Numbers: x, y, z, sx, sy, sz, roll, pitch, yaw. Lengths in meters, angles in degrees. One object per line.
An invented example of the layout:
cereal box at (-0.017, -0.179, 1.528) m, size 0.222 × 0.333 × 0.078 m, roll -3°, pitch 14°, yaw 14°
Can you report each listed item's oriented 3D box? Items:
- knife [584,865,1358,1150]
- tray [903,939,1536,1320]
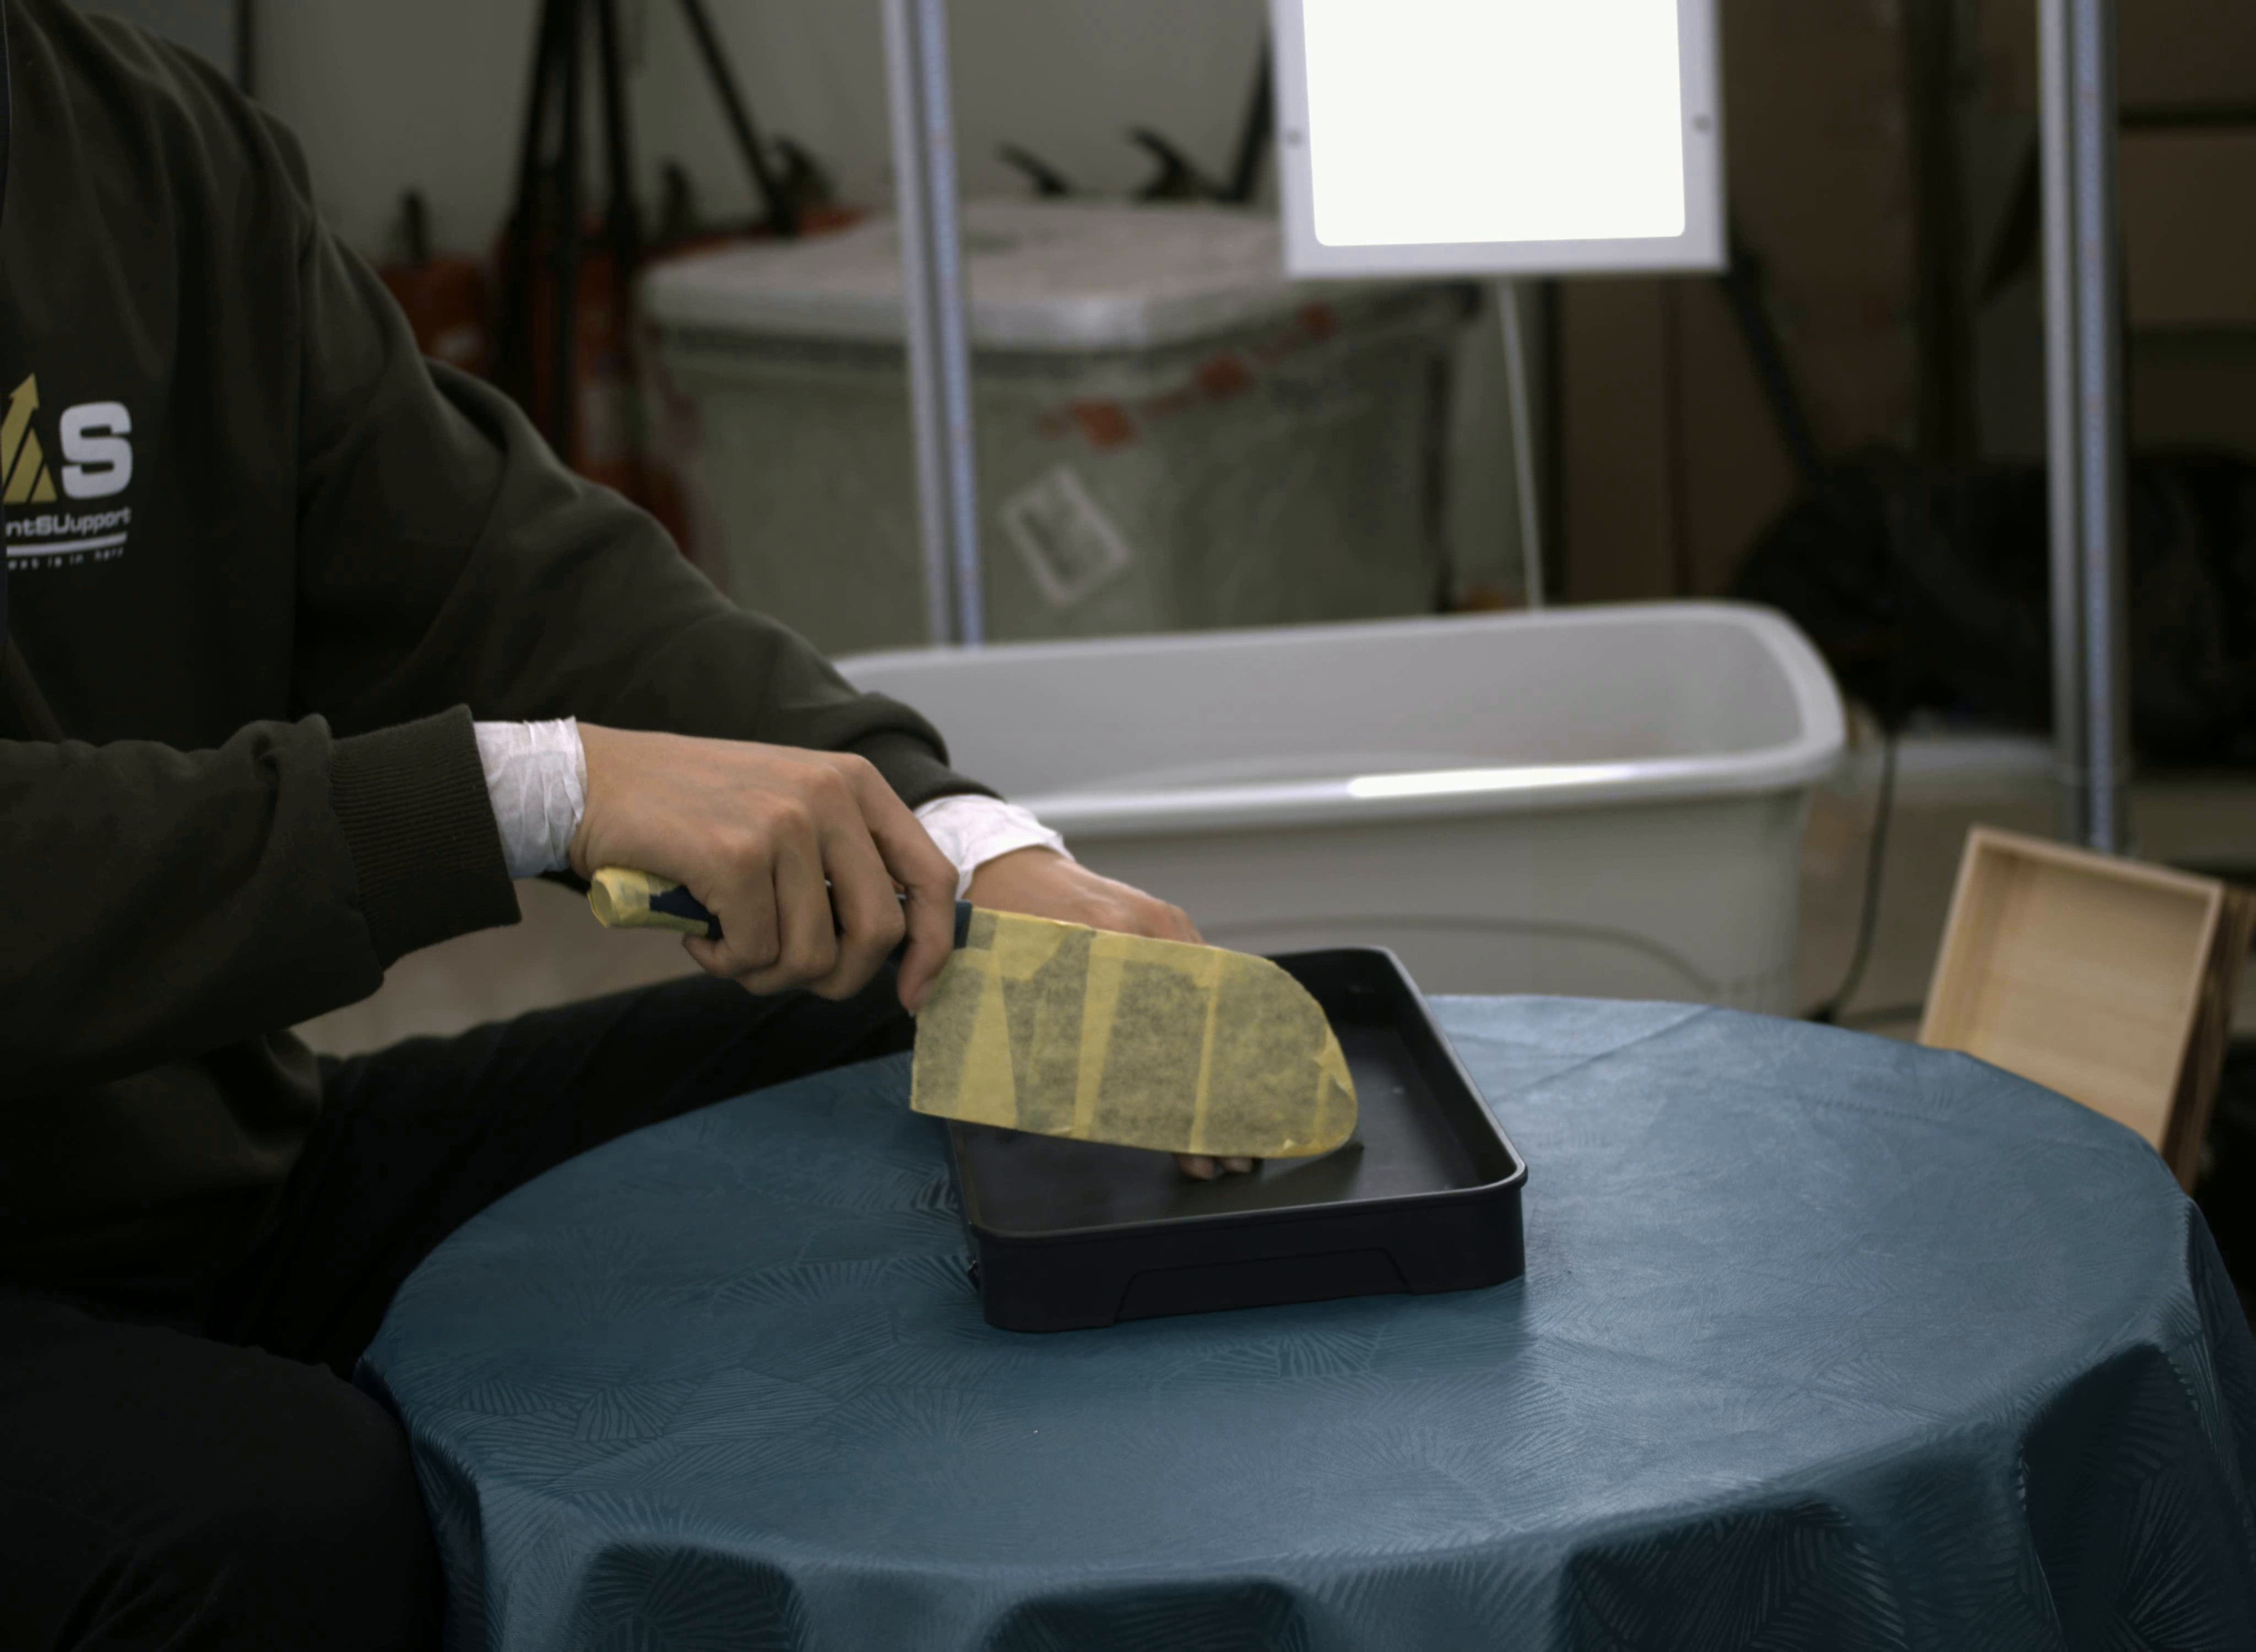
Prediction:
knife at (-0.050, 0.062, 1.867) m, size 0.285 × 0.081 × 0.027 m, roll 13°, pitch -11°, yaw -19°
tray at (0.026, 0.101, 1.917) m, size 0.183 × 0.037 × 0.319 m, roll -6°, pitch 13°, yaw -5°
